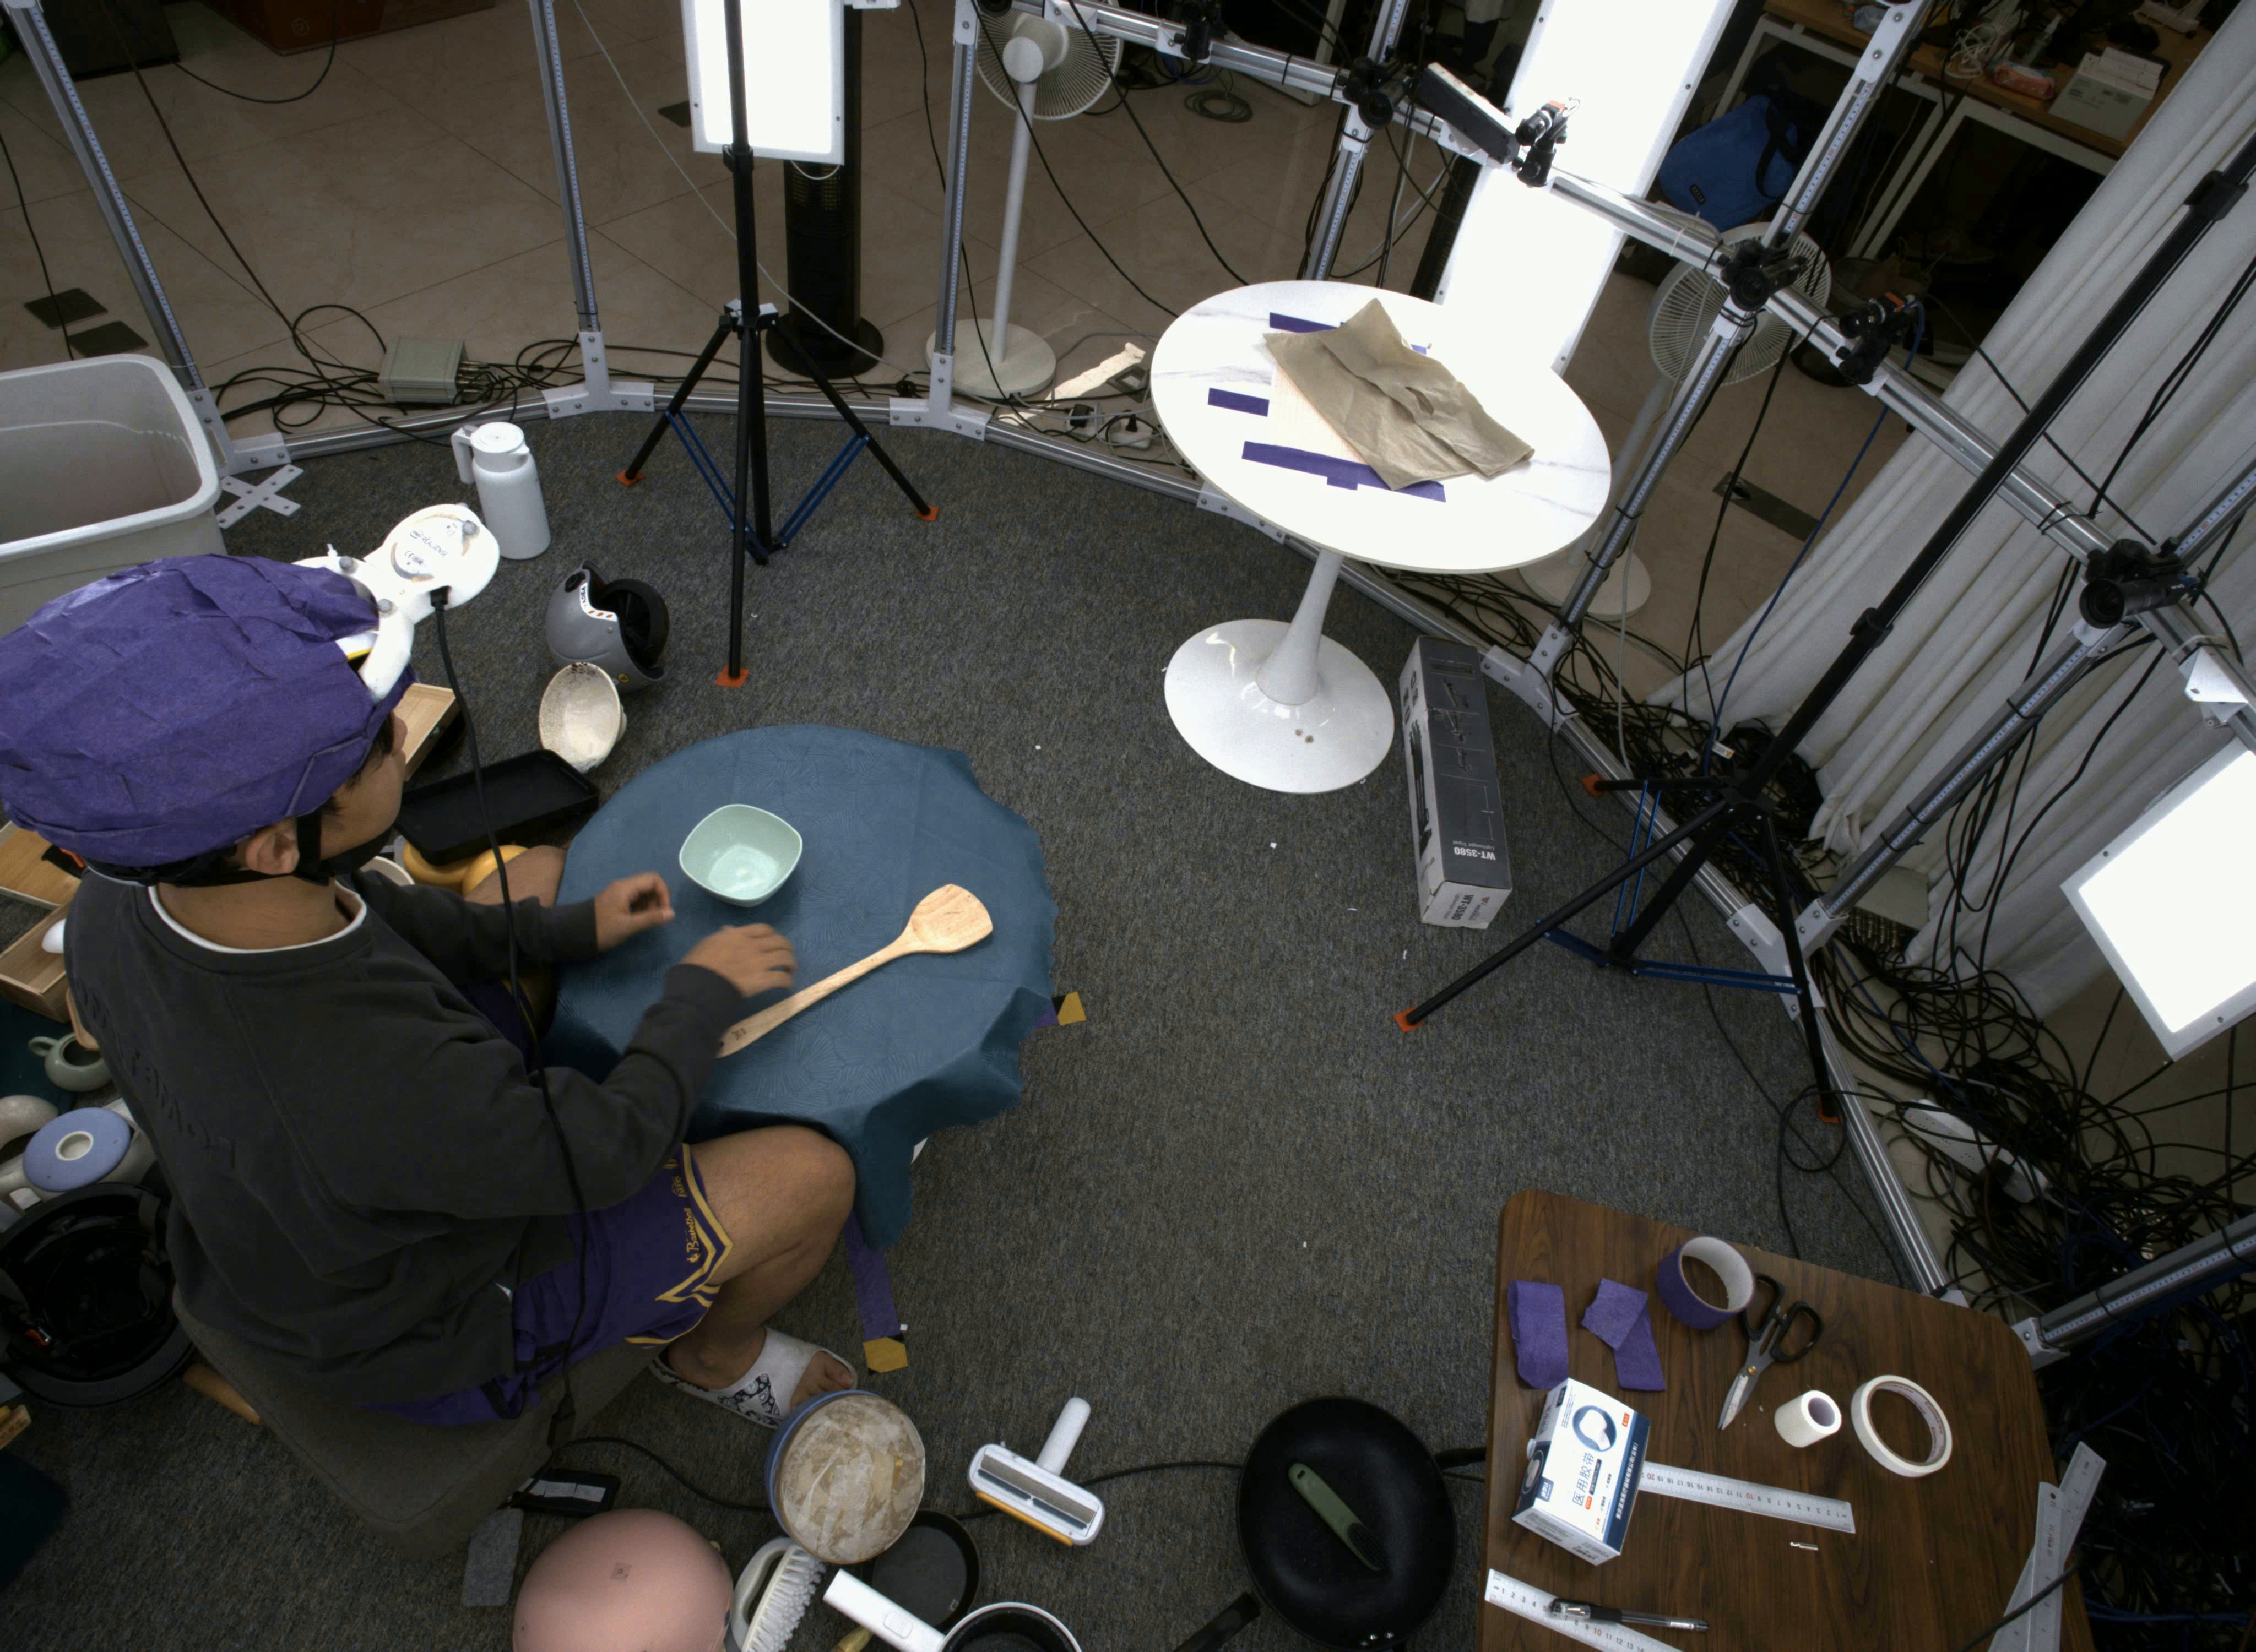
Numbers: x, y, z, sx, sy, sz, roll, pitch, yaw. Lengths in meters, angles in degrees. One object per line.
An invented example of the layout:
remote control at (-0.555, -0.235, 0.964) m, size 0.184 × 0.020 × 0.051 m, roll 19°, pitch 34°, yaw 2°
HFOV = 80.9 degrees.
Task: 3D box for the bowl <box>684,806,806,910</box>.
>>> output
bowl at (-0.484, 0.049, 1.642) m, size 0.151 × 0.060 × 0.148 m, roll 8°, pitch 50°, yaw -9°

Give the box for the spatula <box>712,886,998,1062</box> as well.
spatula at (-0.334, 0.186, 1.602) m, size 0.392 × 0.019 × 0.093 m, roll -29°, pitch 63°, yaw -31°
